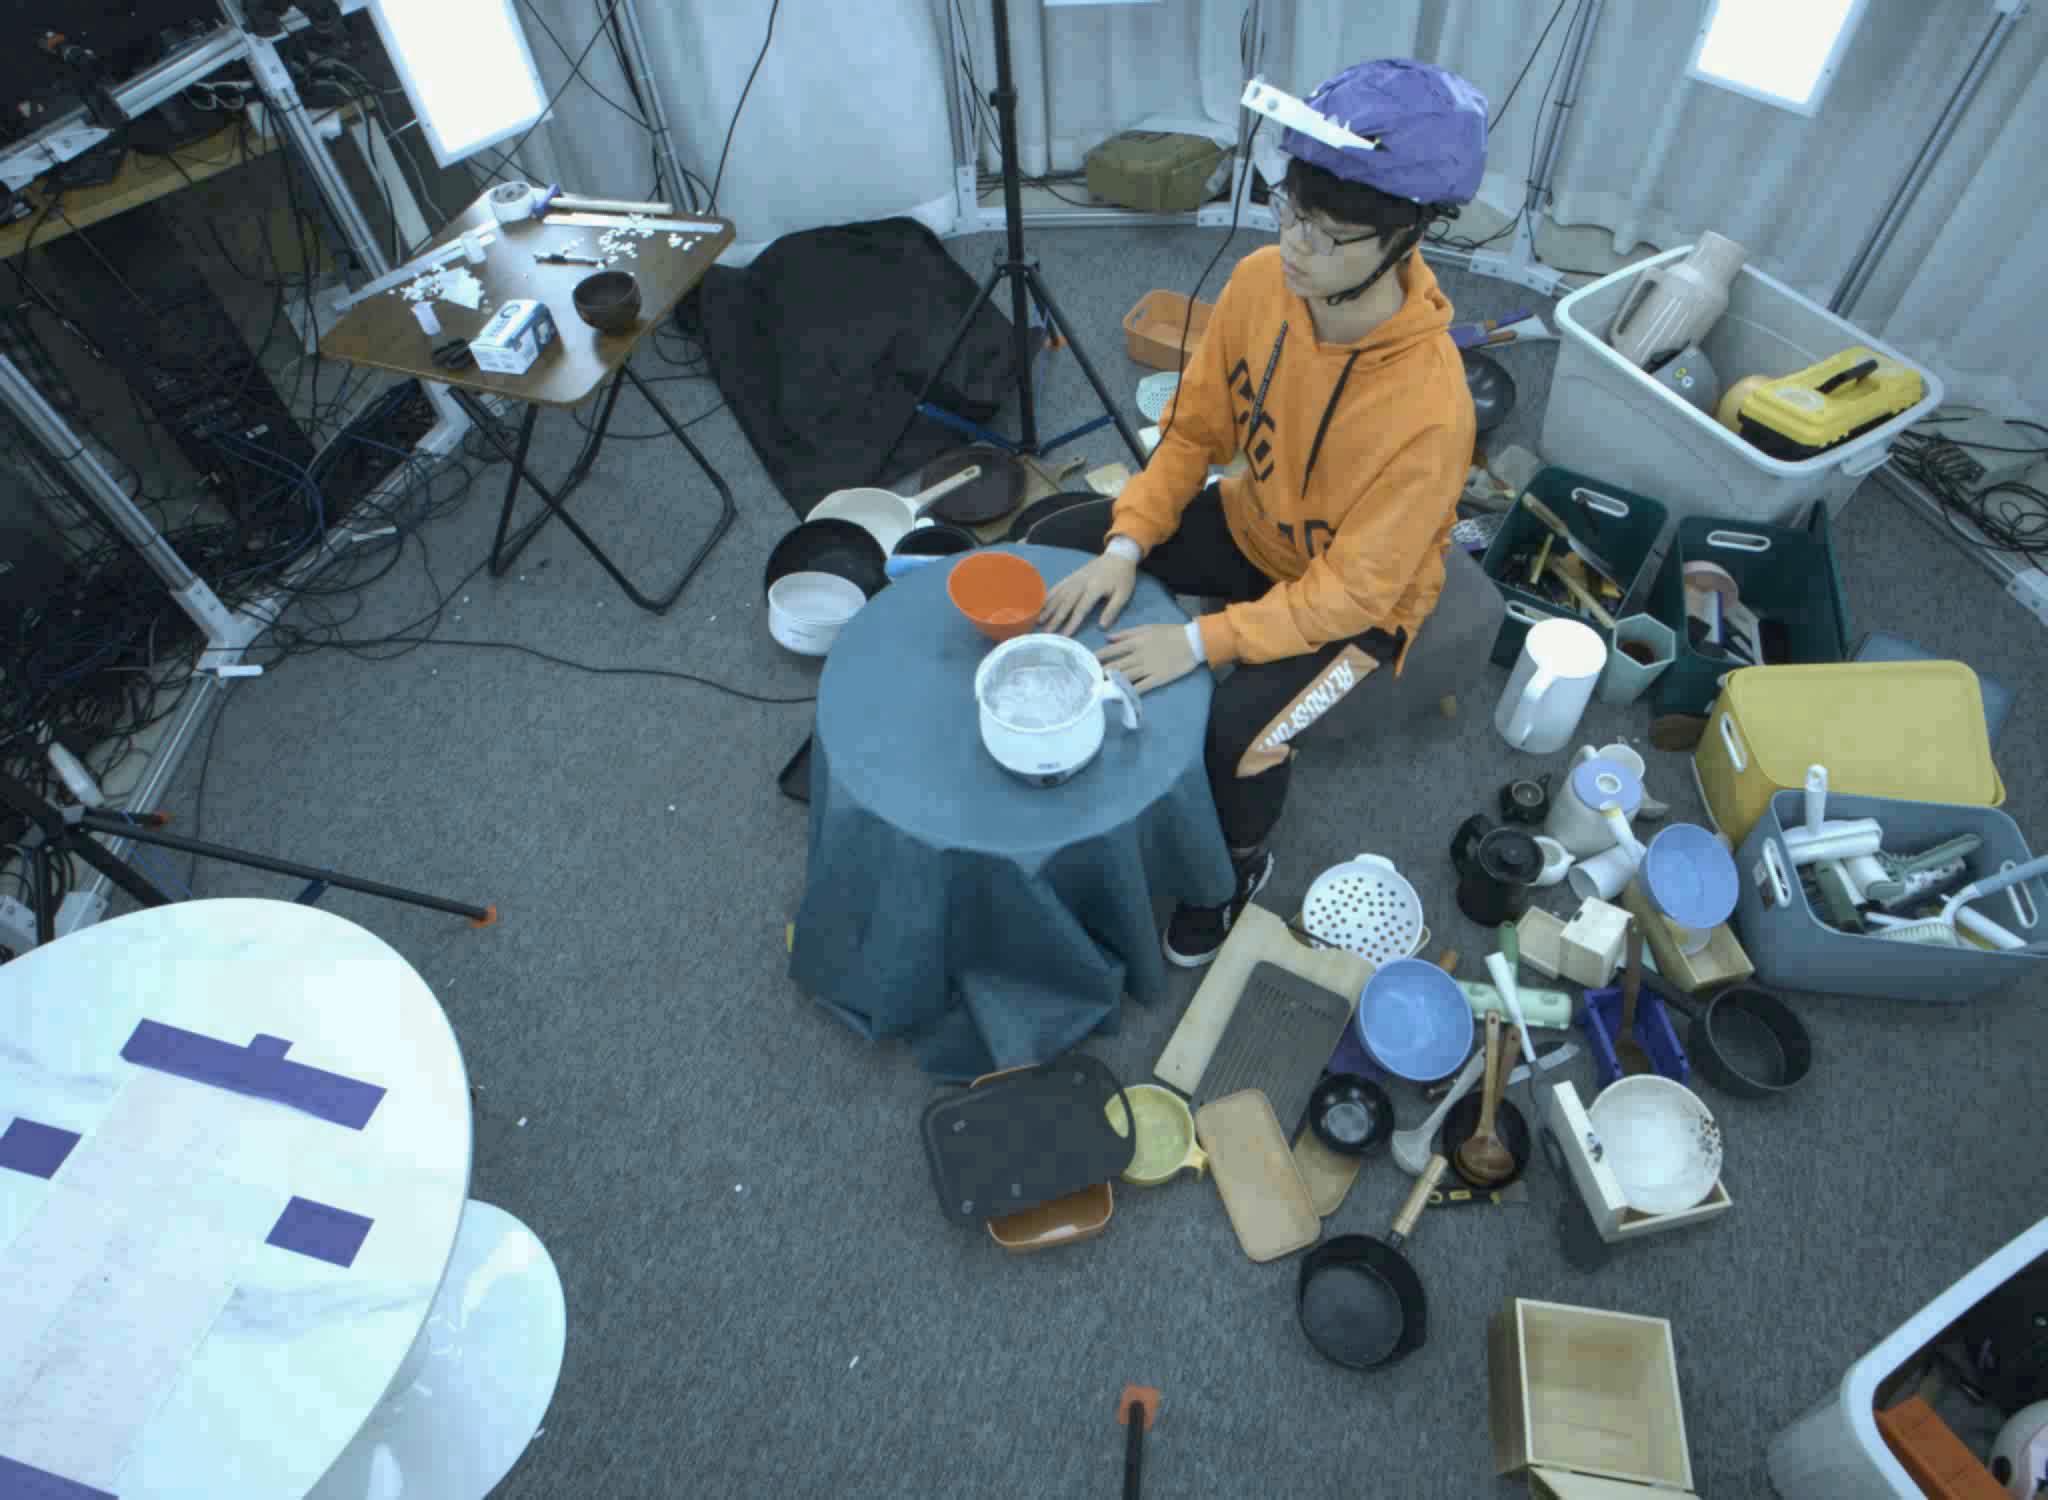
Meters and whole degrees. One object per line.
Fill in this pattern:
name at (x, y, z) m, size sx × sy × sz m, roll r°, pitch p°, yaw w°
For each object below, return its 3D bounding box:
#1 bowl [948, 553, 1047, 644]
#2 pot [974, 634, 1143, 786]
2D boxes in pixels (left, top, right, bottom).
bowl at (-0.038, -0.221, 1.886) m, size 0.148 × 0.106 × 0.146 m, roll 0°, pitch 55°, yaw 1°
pot at (0.052, -0.060, 1.743) m, size 0.234 × 0.138 × 0.176 m, roll -8°, pitch 55°, yaw -2°
